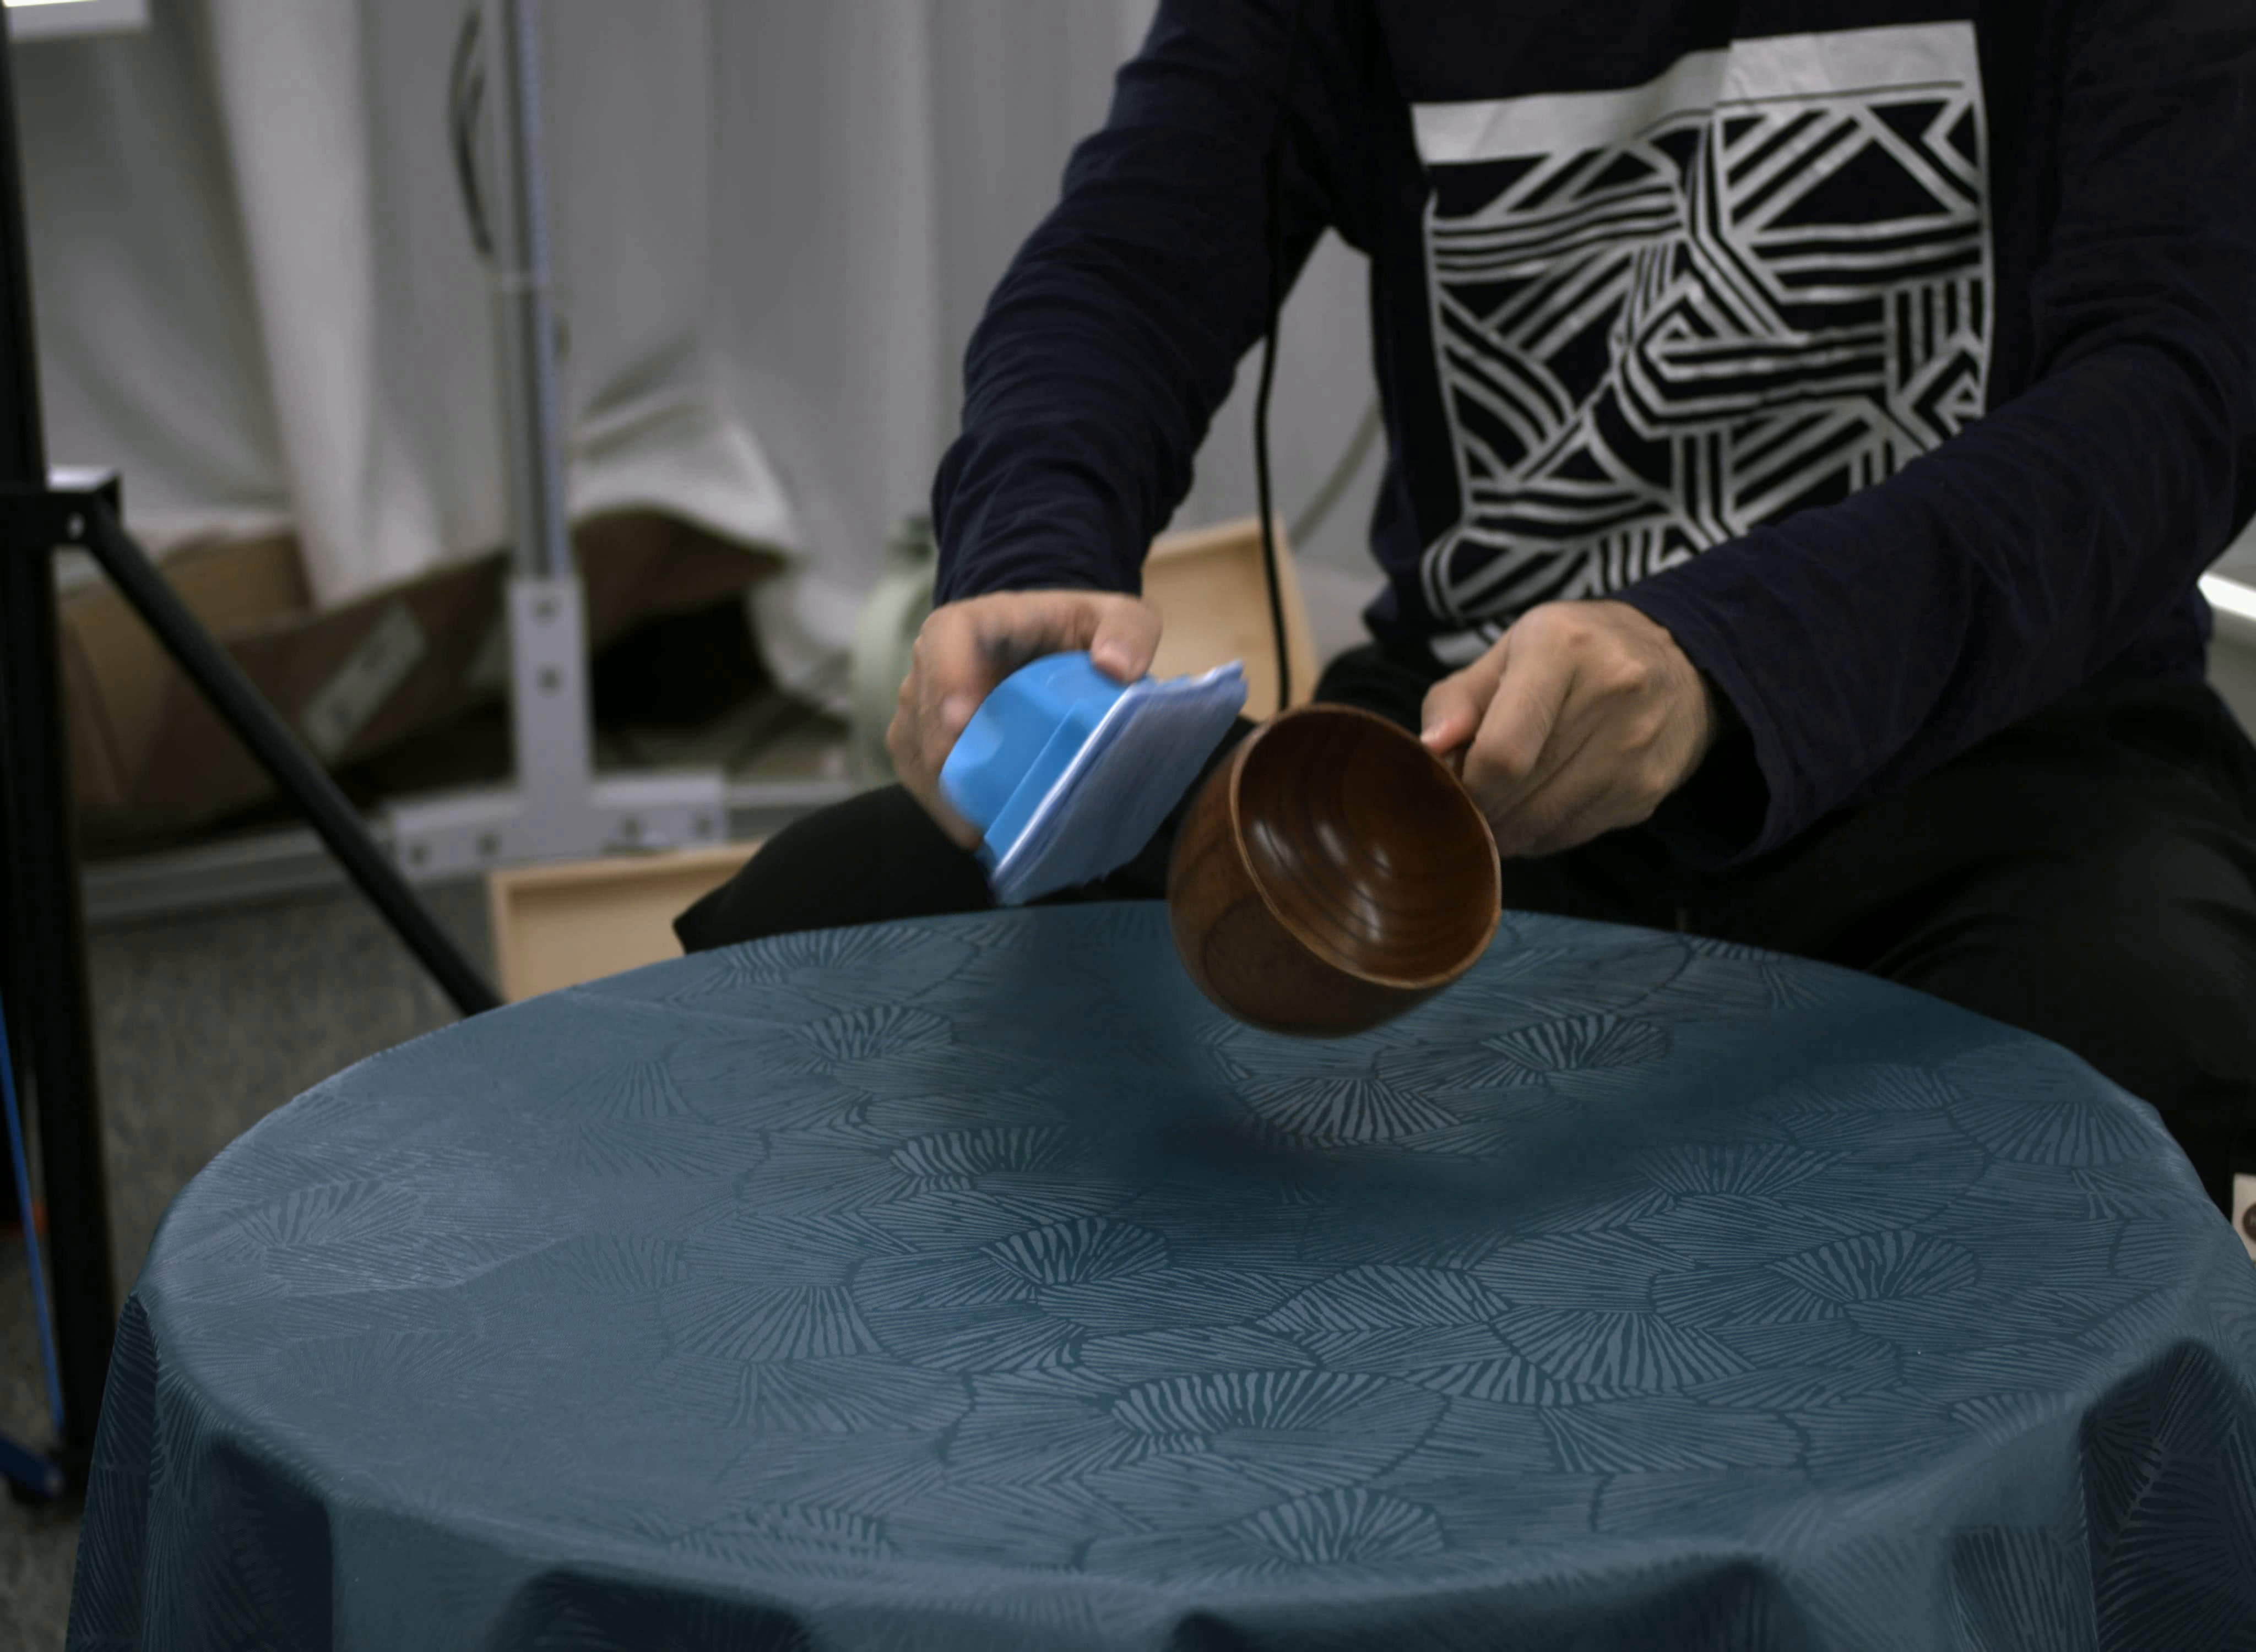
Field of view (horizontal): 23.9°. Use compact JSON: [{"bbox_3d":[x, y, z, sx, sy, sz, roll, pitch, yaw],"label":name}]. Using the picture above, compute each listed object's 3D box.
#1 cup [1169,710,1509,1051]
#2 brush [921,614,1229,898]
[{"bbox_3d":[0.062,0.017,1.574,0.096,0.068,0.118,43,44,3],"label":"cup"},{"bbox_3d":[-0.022,-0.025,1.616,0.056,0.084,0.142,41,18,6],"label":"brush"}]
